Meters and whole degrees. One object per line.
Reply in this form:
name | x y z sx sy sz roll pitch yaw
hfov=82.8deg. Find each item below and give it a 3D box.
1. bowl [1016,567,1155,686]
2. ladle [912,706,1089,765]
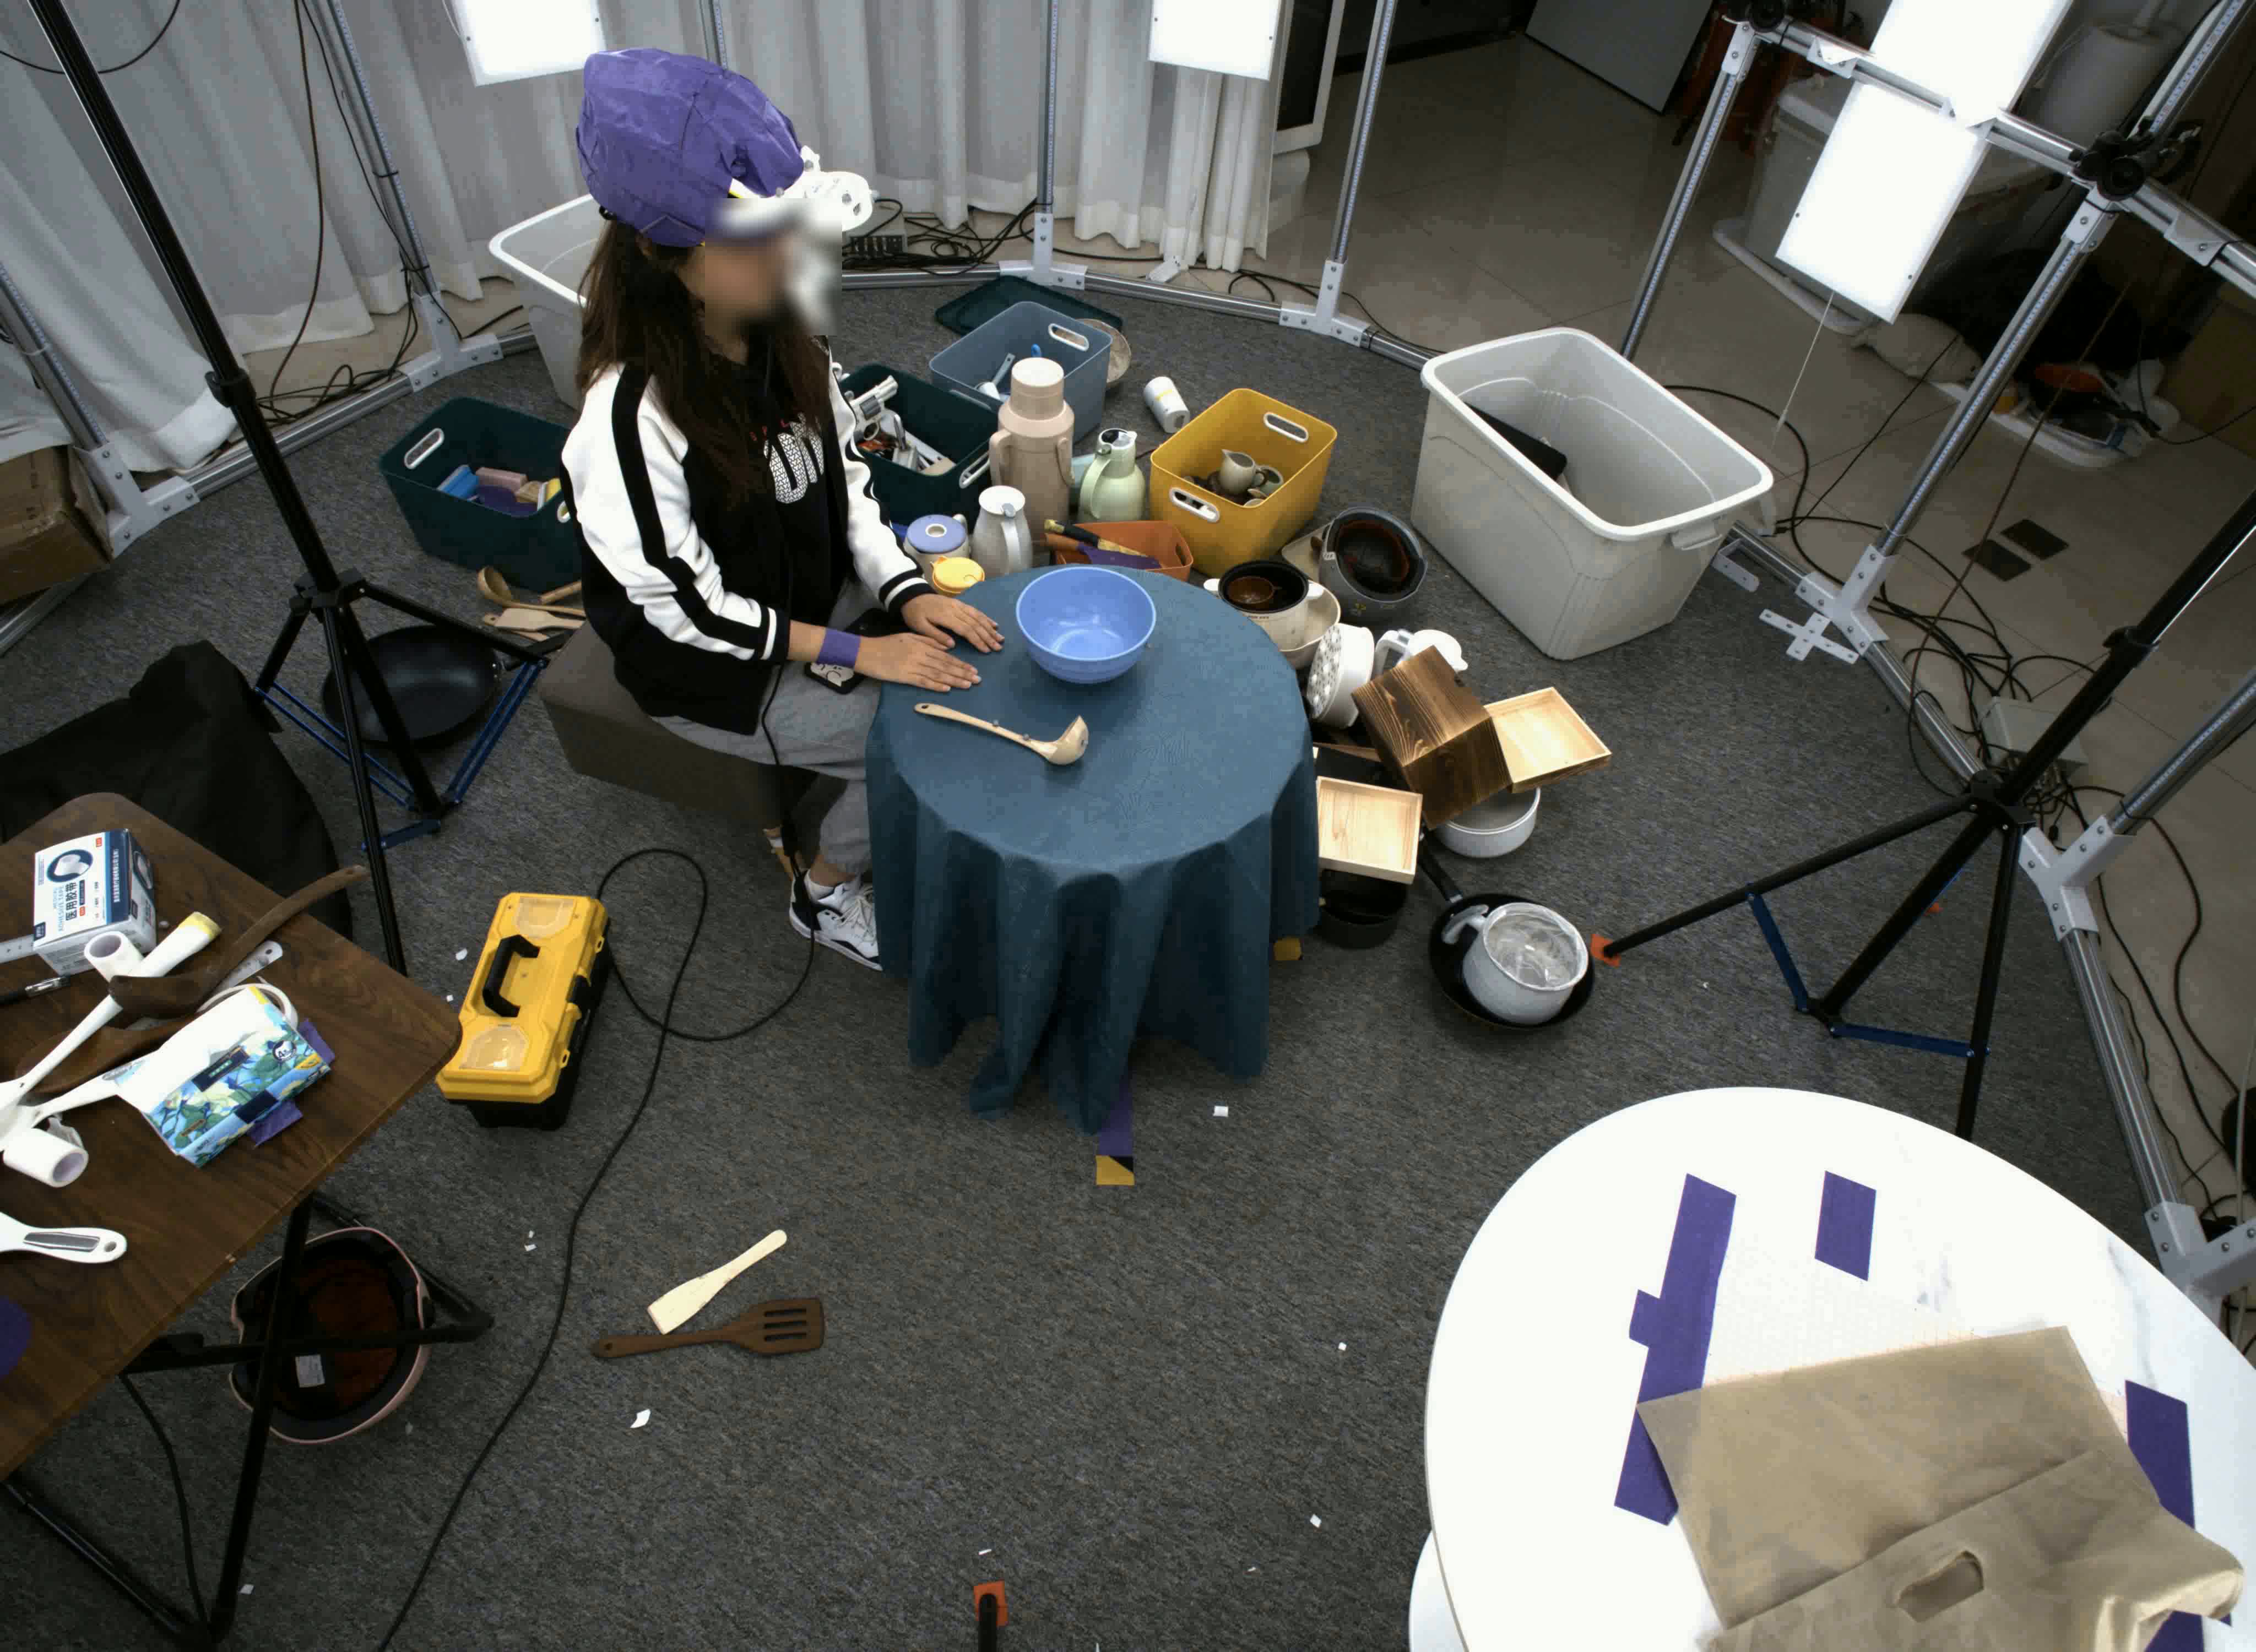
bowl | -0.061 -0.270 1.843 0.196 0.093 0.201 1 50 -2
ladle | -0.177 -0.147 1.739 0.255 0.071 0.073 18 49 11
